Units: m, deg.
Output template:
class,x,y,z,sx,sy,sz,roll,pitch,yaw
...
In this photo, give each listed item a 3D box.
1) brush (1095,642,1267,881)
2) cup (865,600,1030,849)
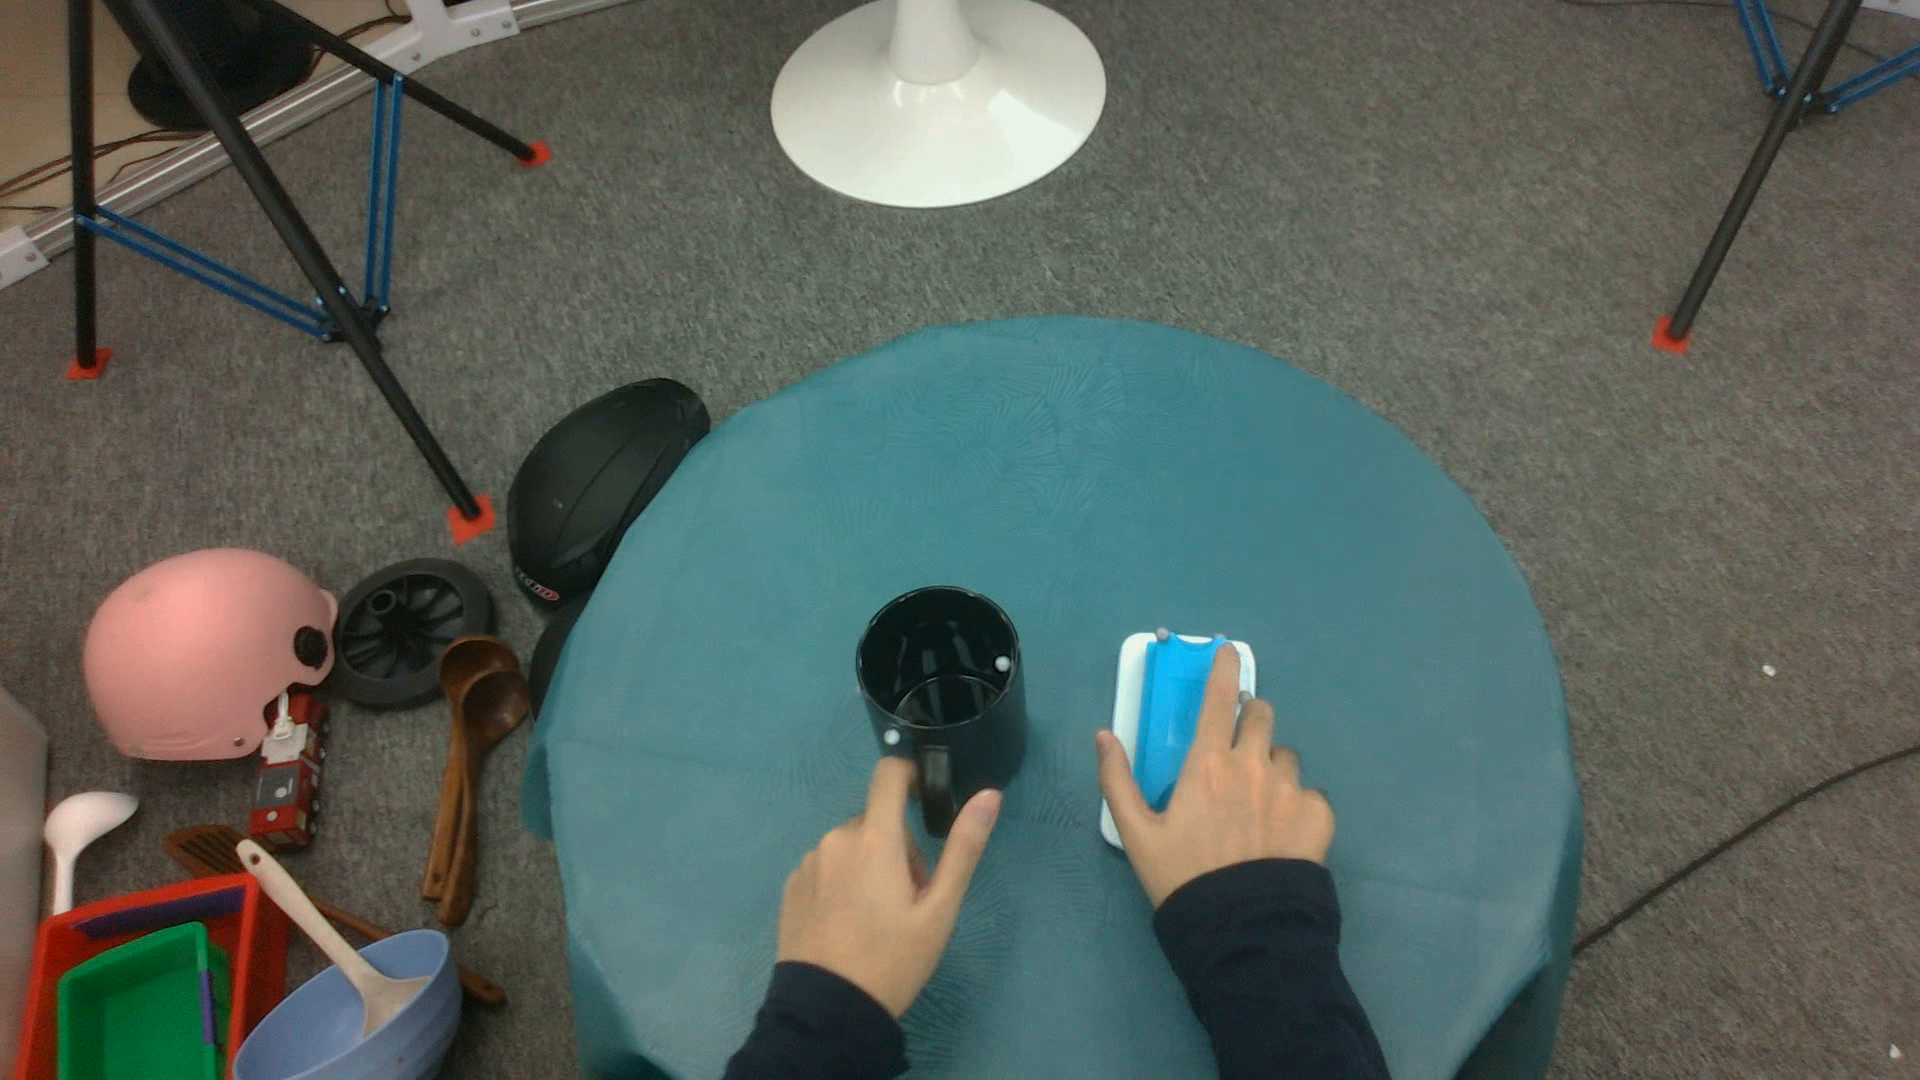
class,x,y,z,sx,sy,sz,roll,pitch,yaw
brush,0.126,0.117,0.776,0.084,0.055,0.144,7,53,15
cup,-0.006,0.111,0.769,0.088,0.105,0.124,1,57,5
